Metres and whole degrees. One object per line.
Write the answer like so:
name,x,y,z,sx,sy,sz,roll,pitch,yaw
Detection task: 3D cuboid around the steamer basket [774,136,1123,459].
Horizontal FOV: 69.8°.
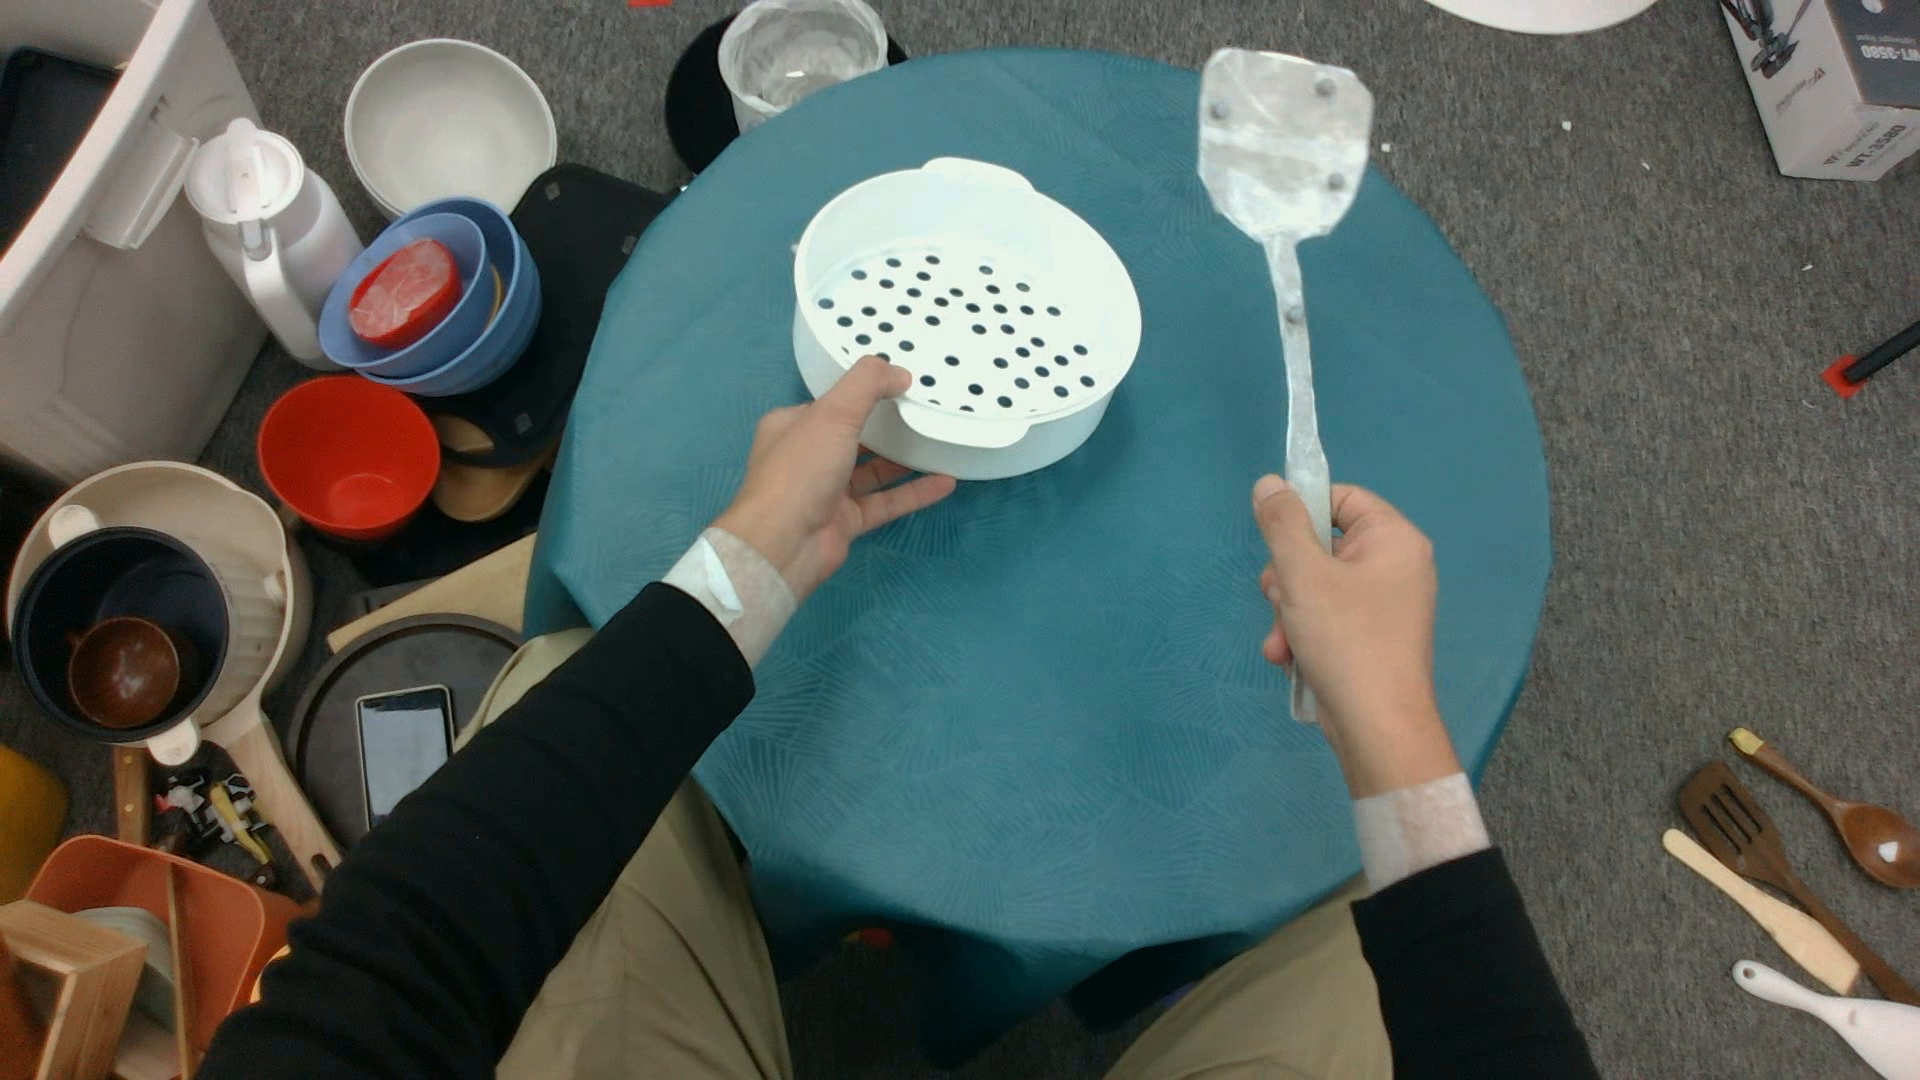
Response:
steamer basket,-0.010,-0.138,0.806,0.202,0.069,0.231,9,54,-7

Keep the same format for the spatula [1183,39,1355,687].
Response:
spatula,0.159,-0.102,0.695,0.099,0.044,0.366,9,62,-11
